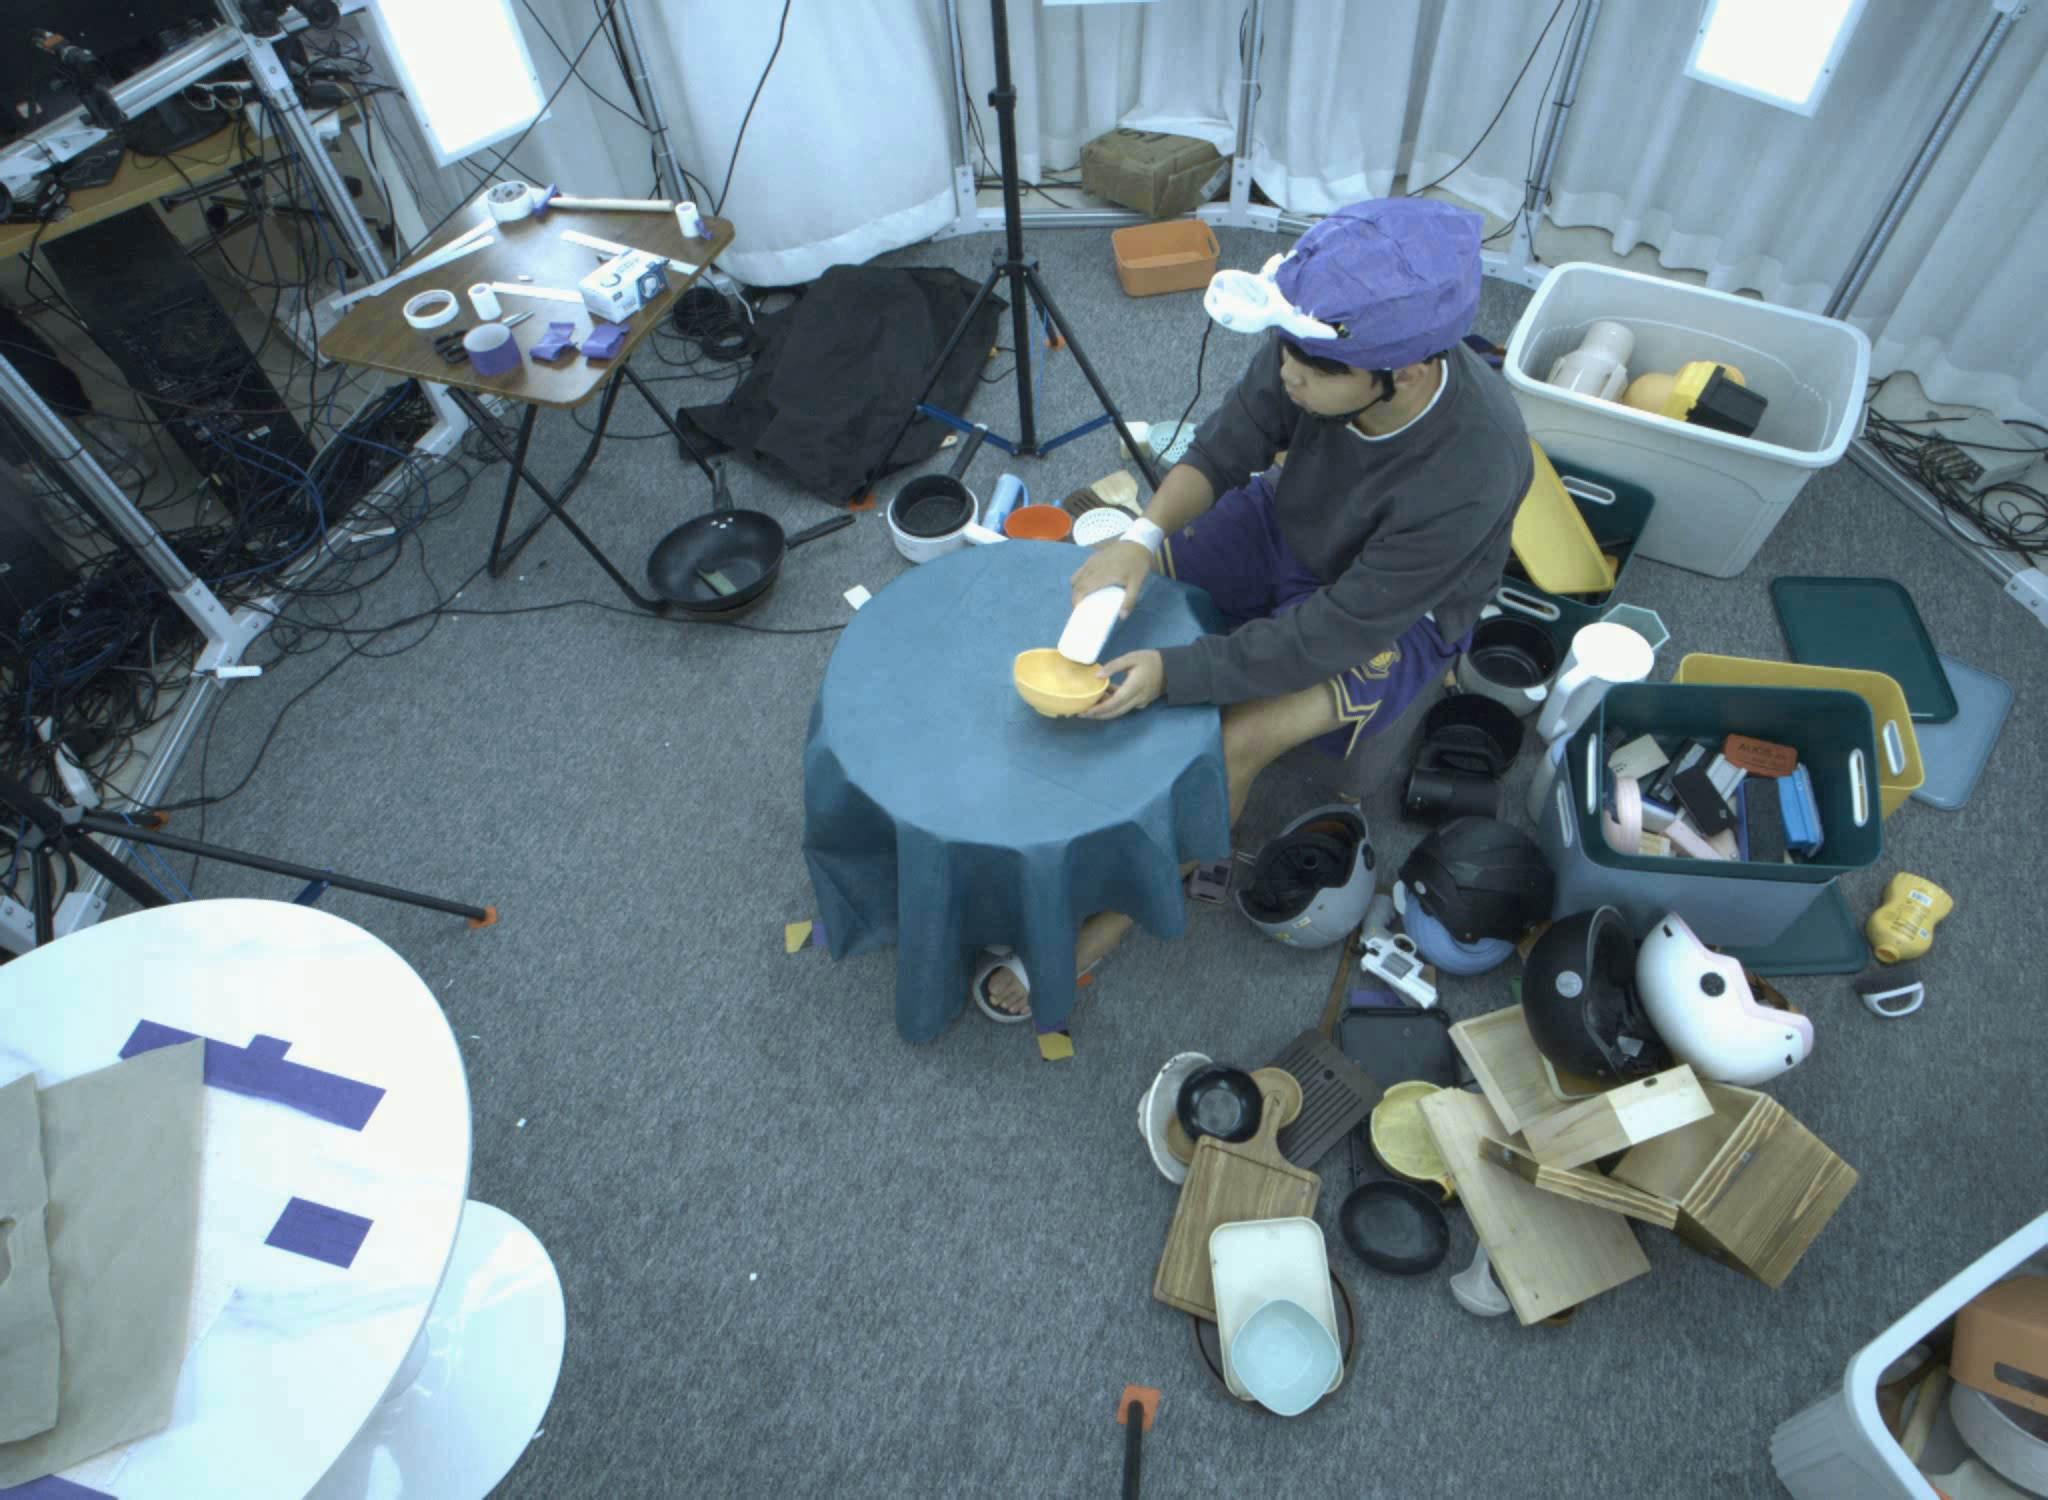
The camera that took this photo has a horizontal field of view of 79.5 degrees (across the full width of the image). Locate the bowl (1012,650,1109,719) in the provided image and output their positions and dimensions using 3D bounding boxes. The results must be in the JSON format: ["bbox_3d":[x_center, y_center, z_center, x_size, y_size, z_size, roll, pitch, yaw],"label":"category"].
[{"bbox_3d":[0.048,-0.086,1.792,0.146,0.060,0.144,10,30,-5],"label":"bowl"}]

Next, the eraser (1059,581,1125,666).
[{"bbox_3d":[0.103,-0.189,1.828,0.062,0.035,0.131,21,74,18],"label":"eraser"}]
